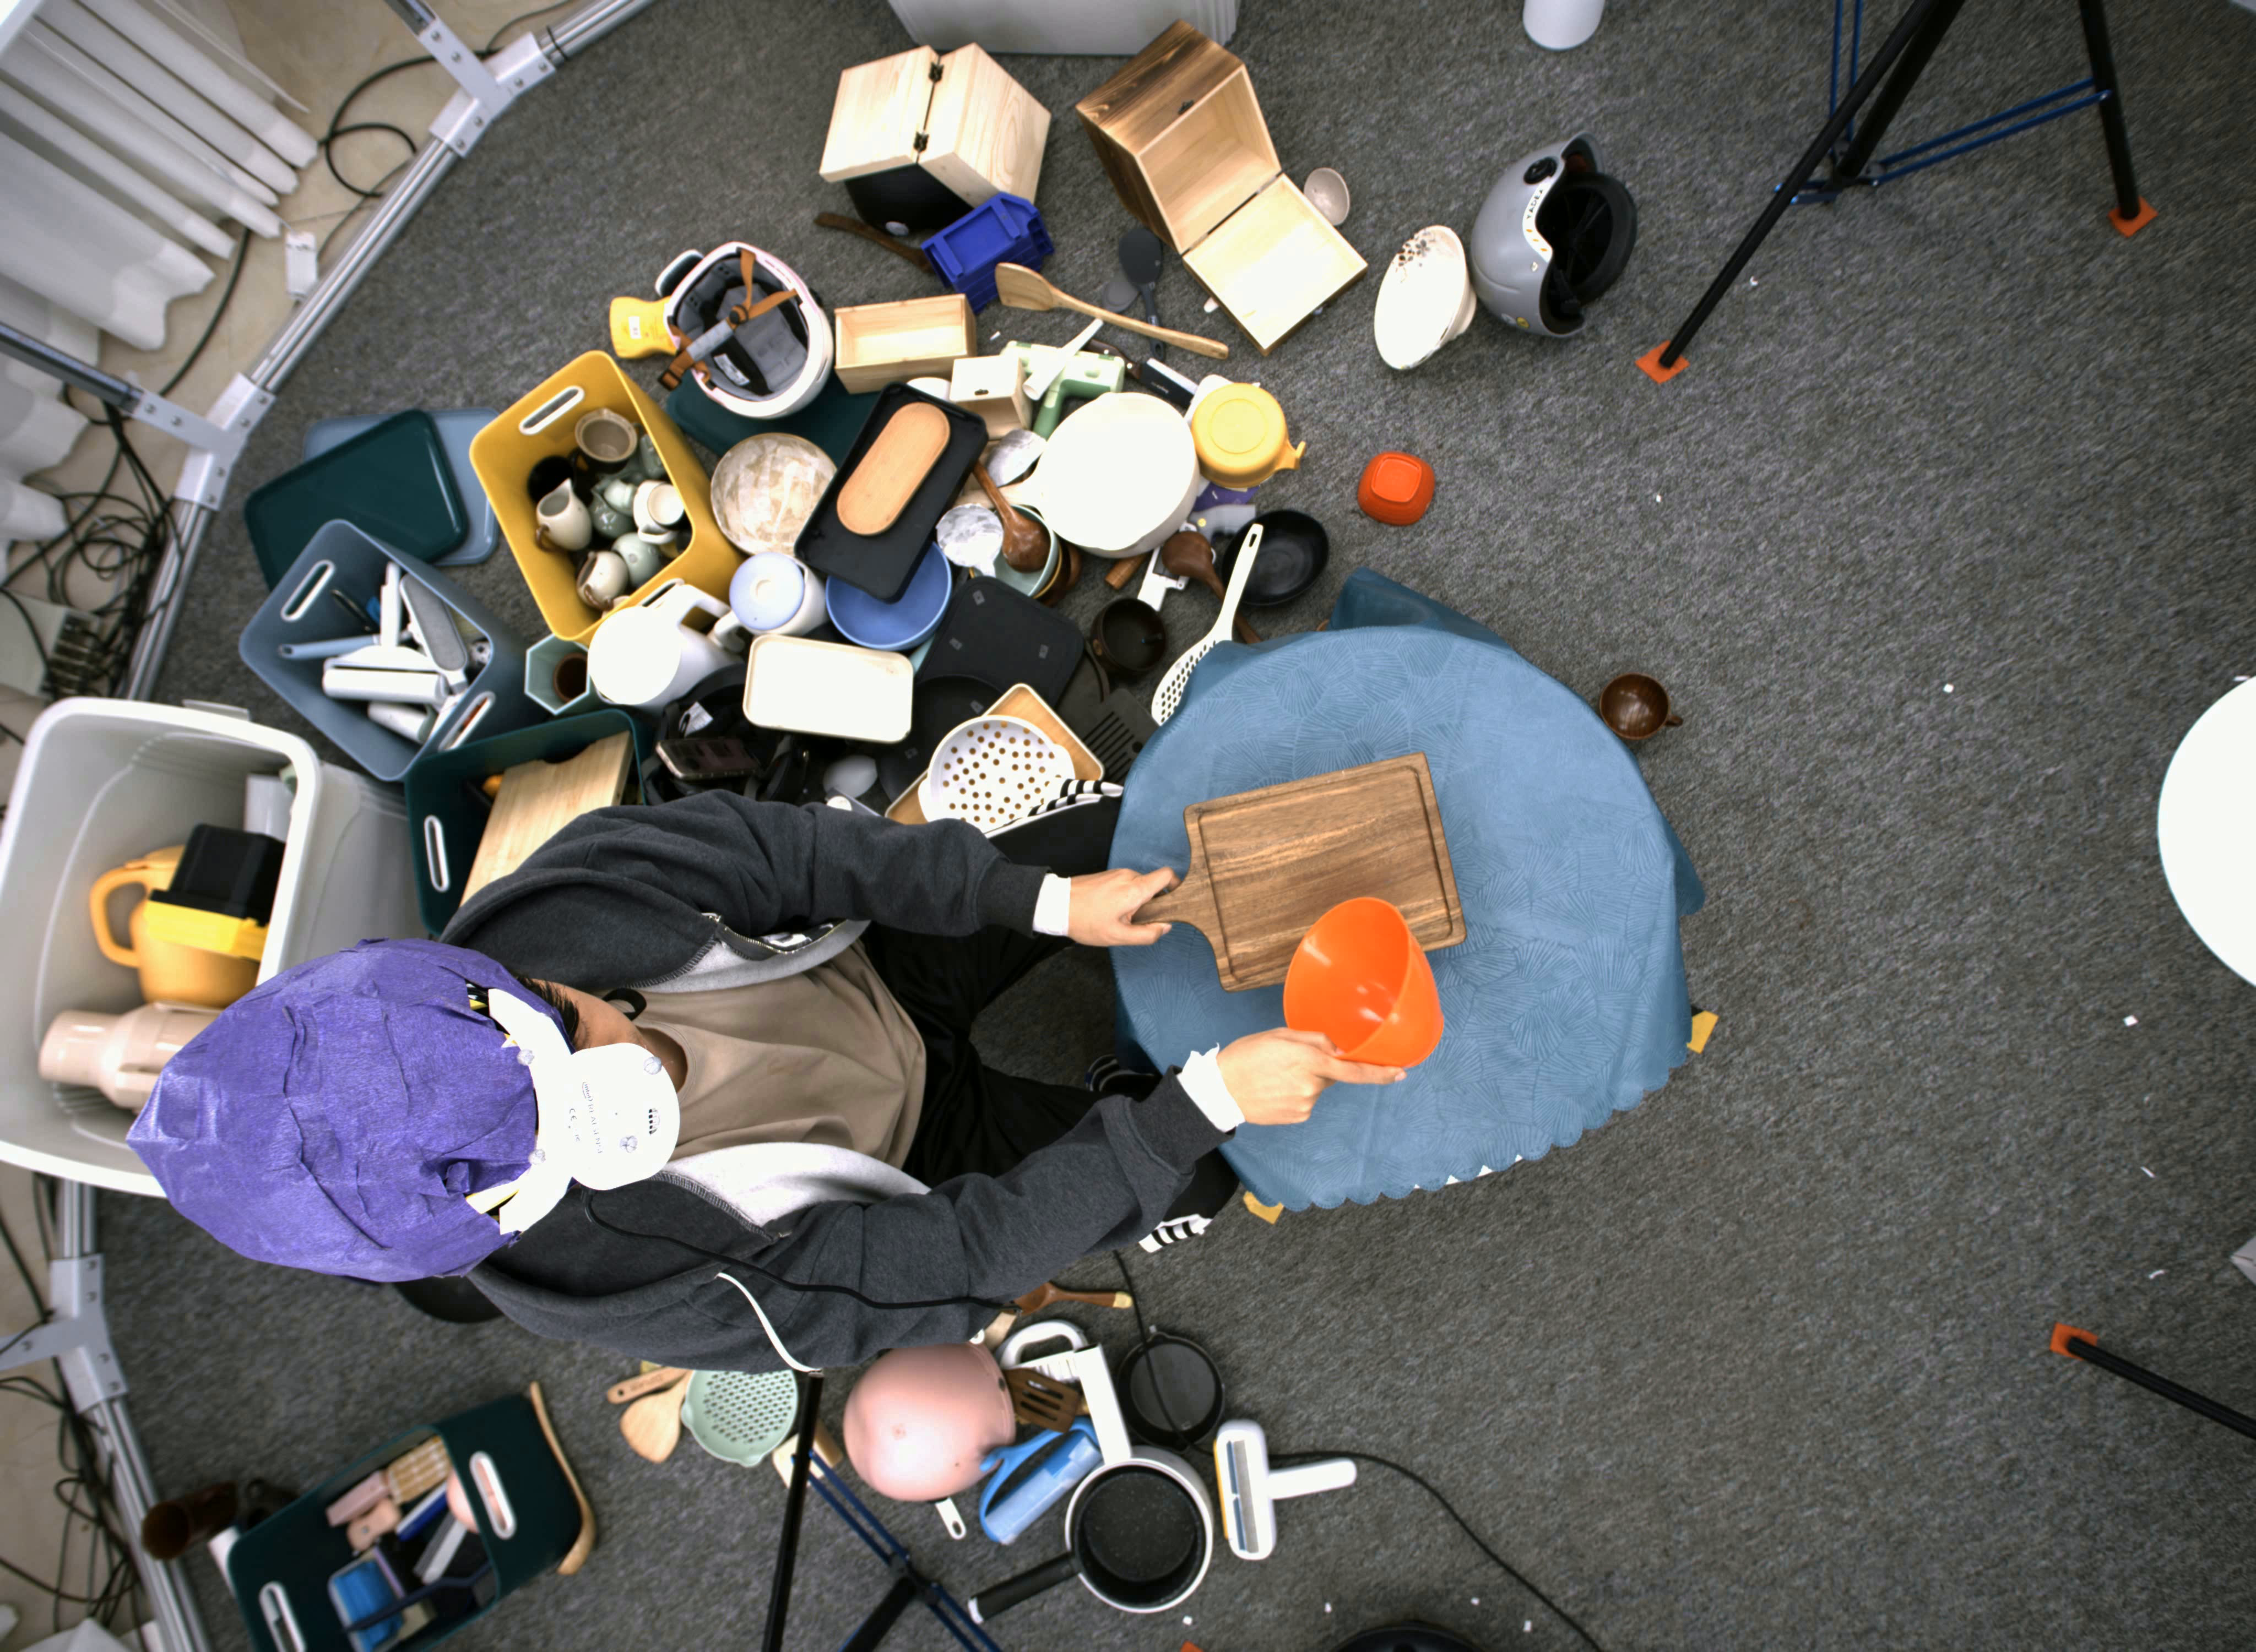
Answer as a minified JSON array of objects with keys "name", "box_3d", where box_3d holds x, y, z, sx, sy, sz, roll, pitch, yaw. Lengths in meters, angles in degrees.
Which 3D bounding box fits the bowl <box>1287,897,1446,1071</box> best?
[{"name":"bowl","box_3d":[0.220,0.150,1.216,0.105,0.147,0.148,35,92,-21]}]

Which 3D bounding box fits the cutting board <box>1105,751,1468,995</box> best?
[{"name":"cutting board","box_3d":[0.147,0.058,1.394,0.354,0.023,0.201,-13,90,8]}]
